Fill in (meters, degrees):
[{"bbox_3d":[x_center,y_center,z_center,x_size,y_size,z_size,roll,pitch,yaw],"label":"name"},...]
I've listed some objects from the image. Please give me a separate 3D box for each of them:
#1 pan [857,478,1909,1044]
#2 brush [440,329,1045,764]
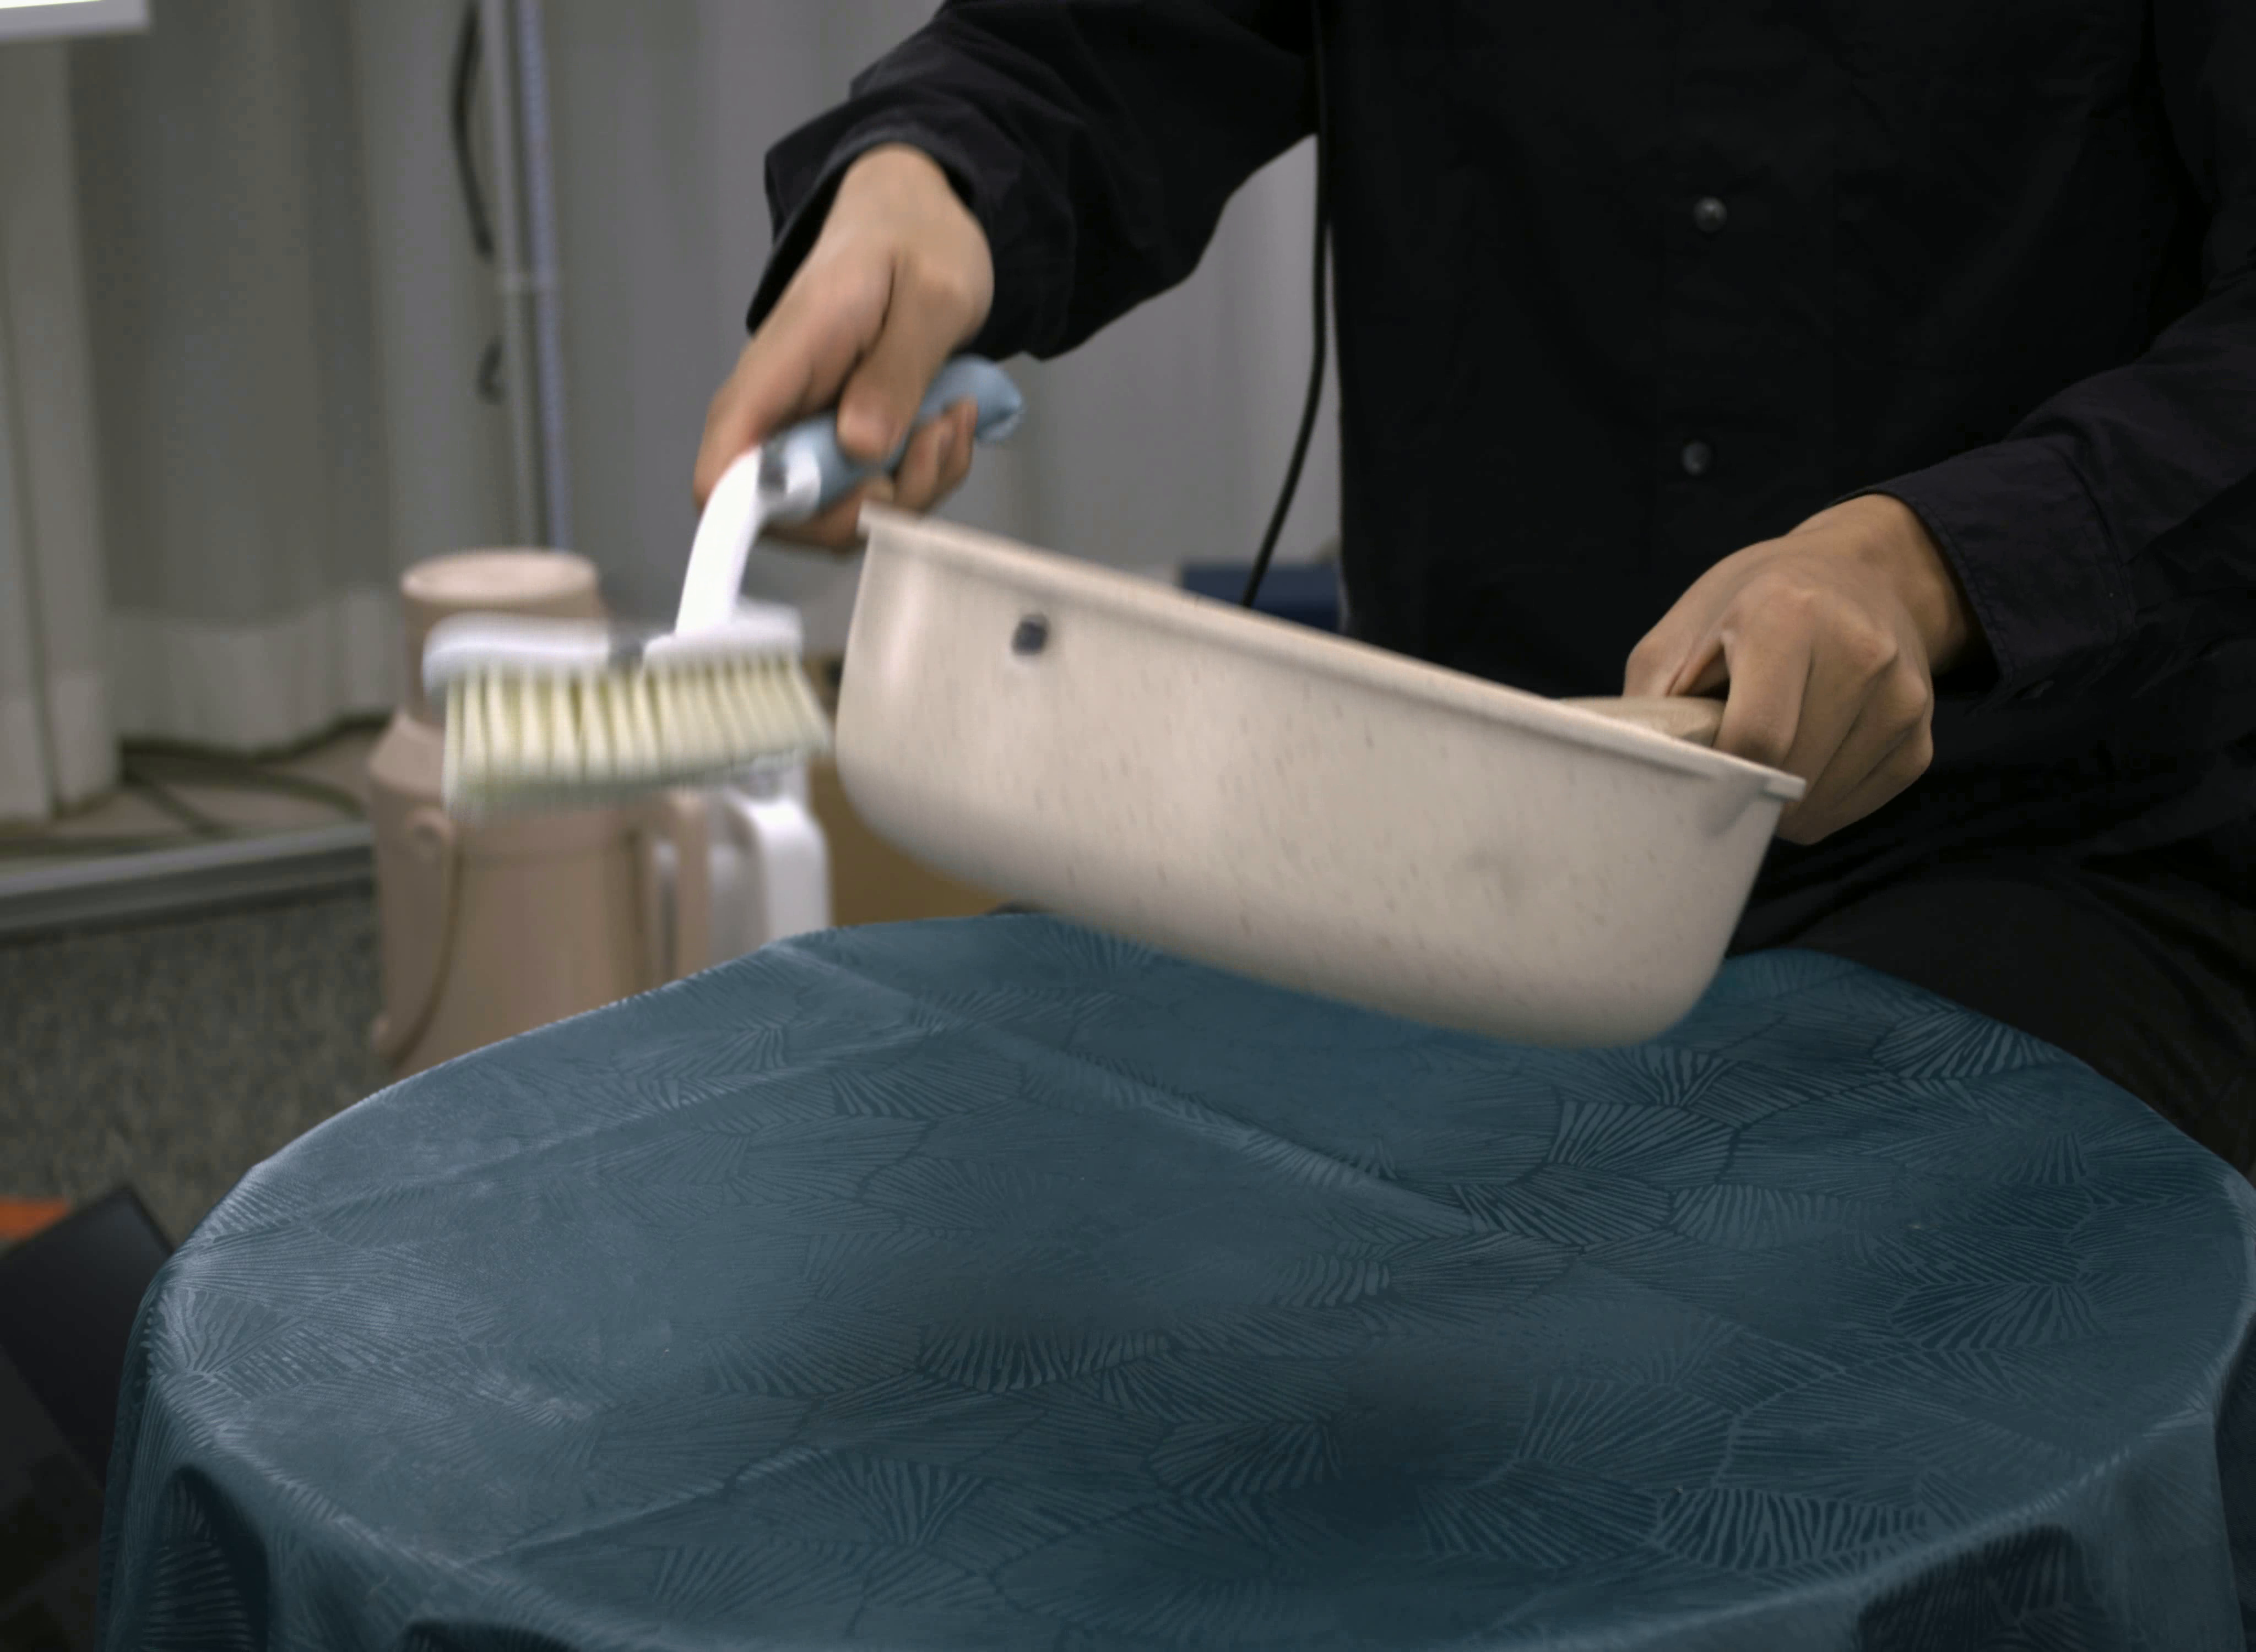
[{"bbox_3d":[0.098,-0.007,1.426,0.269,0.102,0.424,19,3,35],"label":"pan"},{"bbox_3d":[-0.089,-0.067,1.516,0.084,0.085,0.320,24,24,19],"label":"brush"}]
